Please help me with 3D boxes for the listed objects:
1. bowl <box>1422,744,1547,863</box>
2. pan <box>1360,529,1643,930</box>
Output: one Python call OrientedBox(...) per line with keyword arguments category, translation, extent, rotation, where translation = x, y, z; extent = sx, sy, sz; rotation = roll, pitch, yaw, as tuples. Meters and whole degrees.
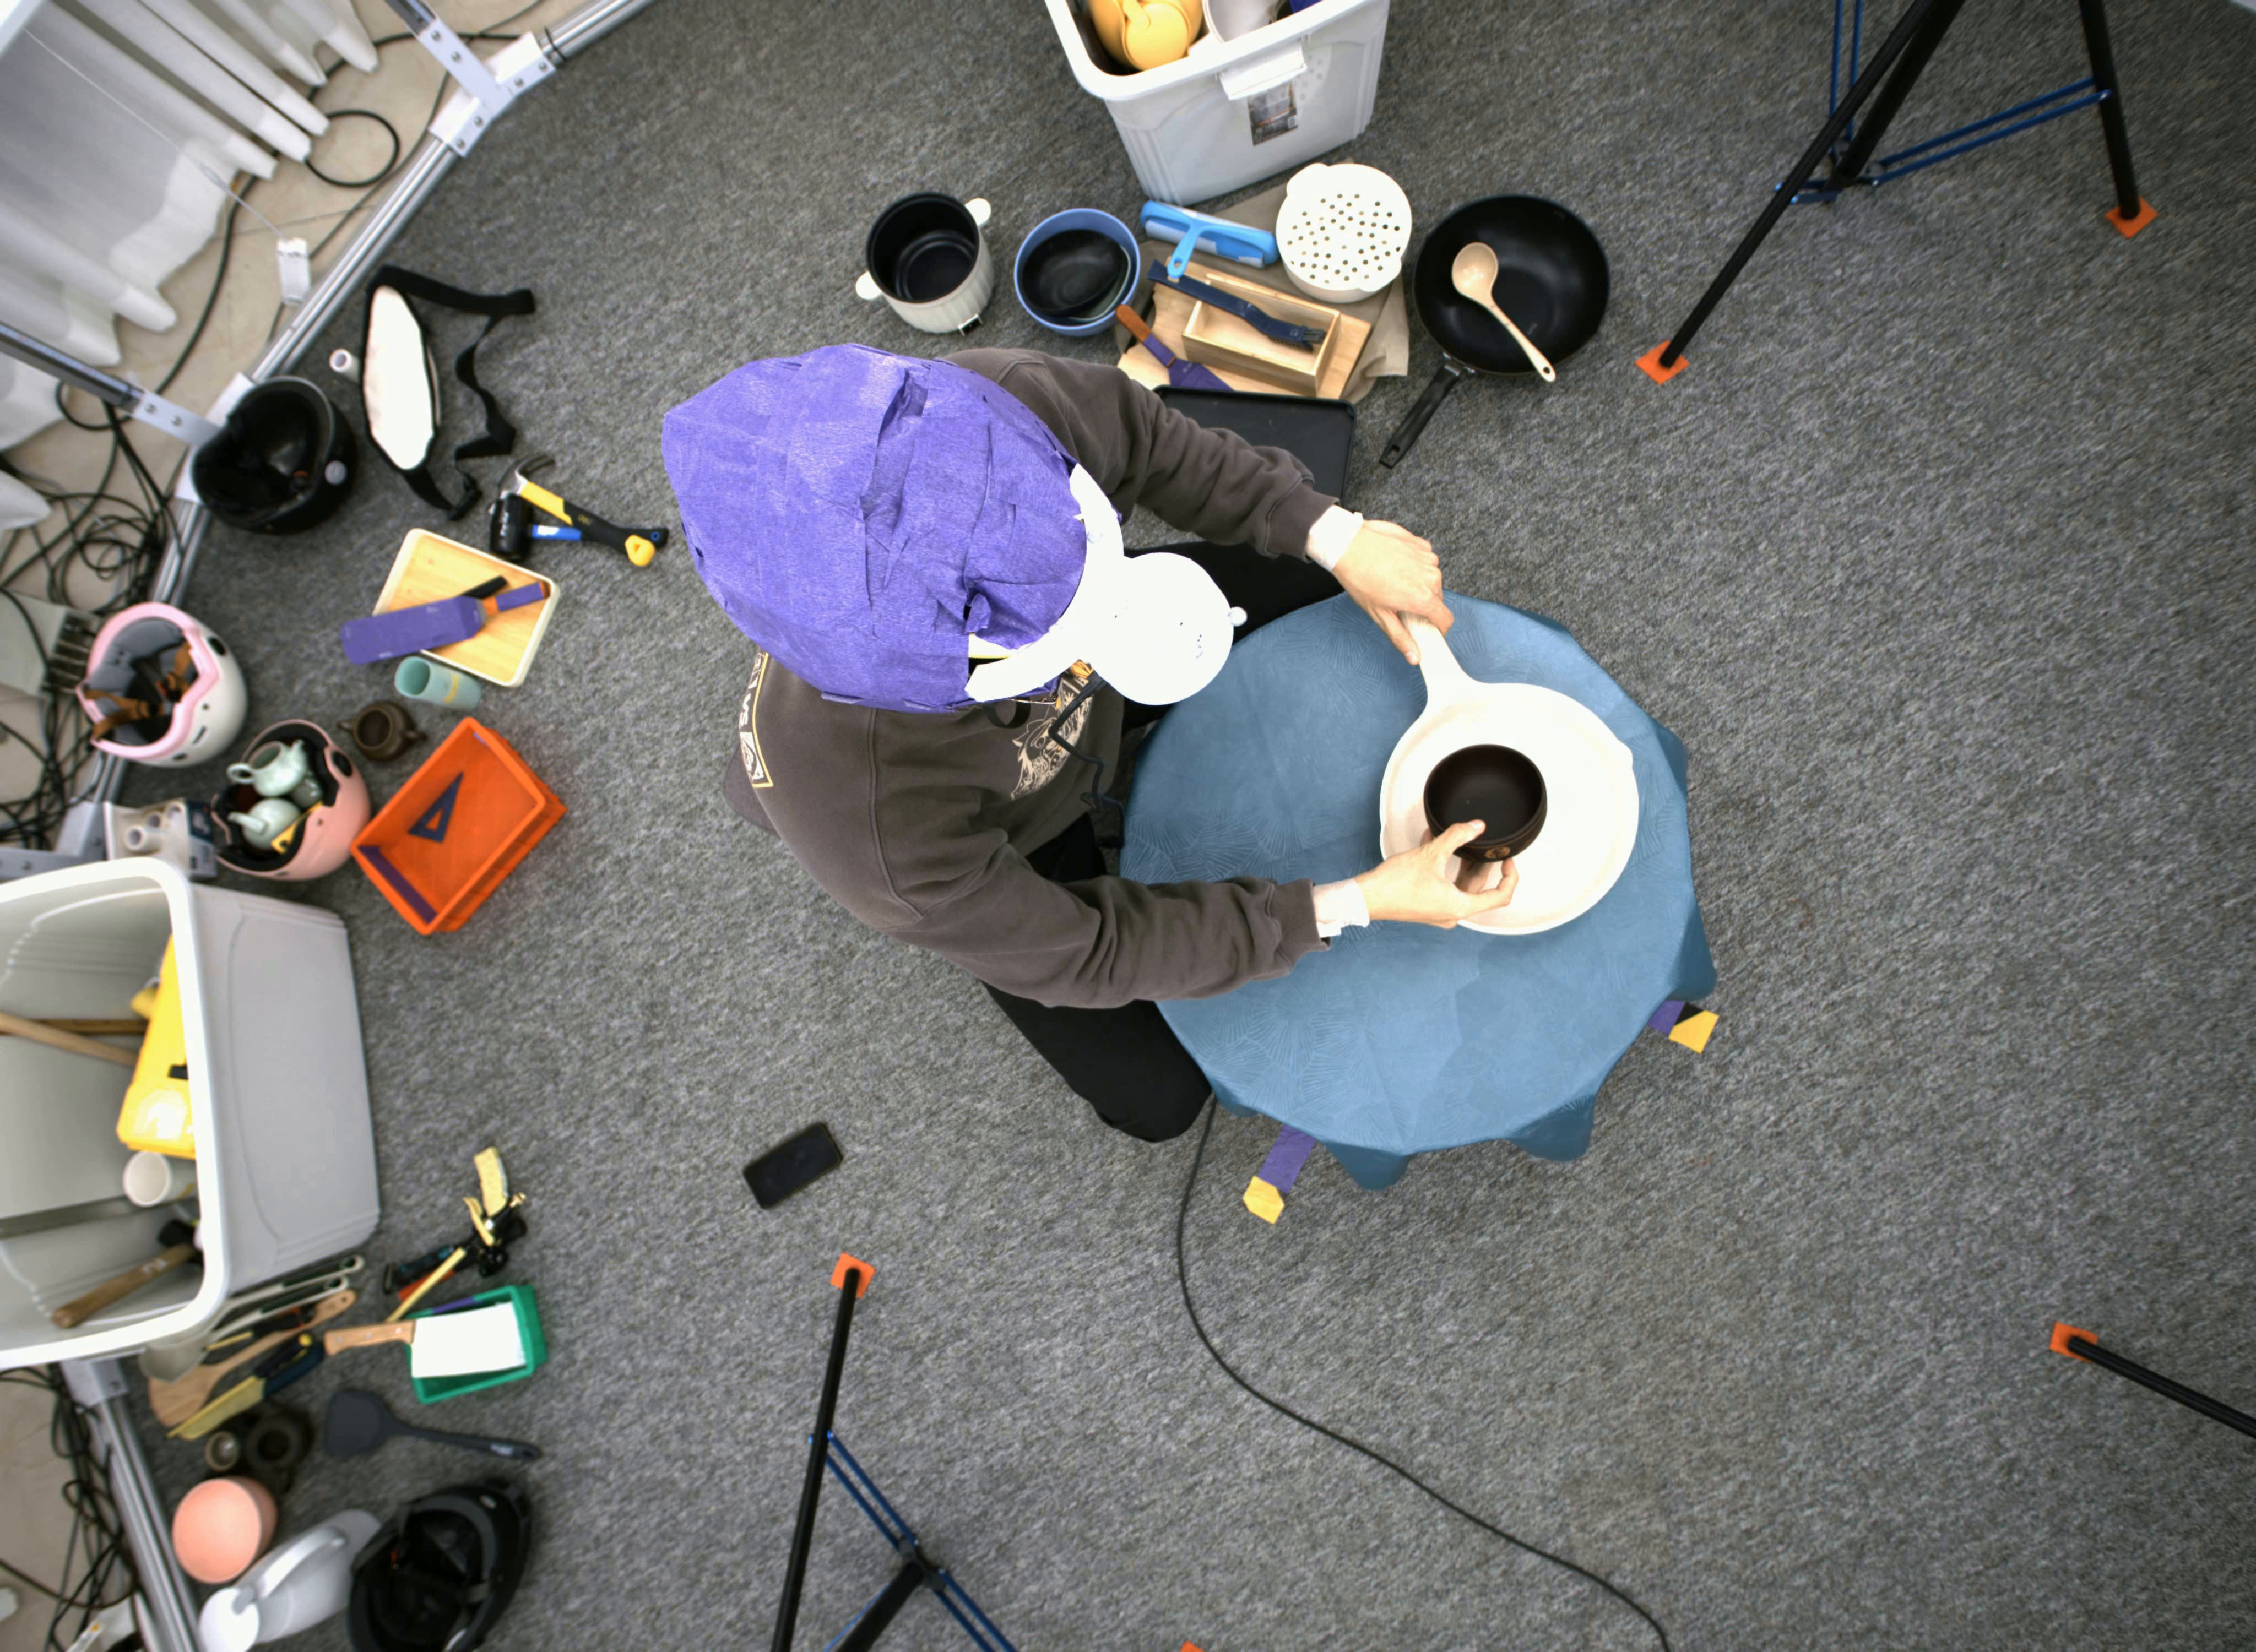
OrientedBox(category="bowl", translation=(0.350, -0.017, 1.346), extent=(0.119, 0.071, 0.115), rotation=(-10, 58, 15))
OrientedBox(category="pan", translation=(0.348, -0.104, 1.402), extent=(0.265, 0.102, 0.432), rotation=(-26, 82, 10))
